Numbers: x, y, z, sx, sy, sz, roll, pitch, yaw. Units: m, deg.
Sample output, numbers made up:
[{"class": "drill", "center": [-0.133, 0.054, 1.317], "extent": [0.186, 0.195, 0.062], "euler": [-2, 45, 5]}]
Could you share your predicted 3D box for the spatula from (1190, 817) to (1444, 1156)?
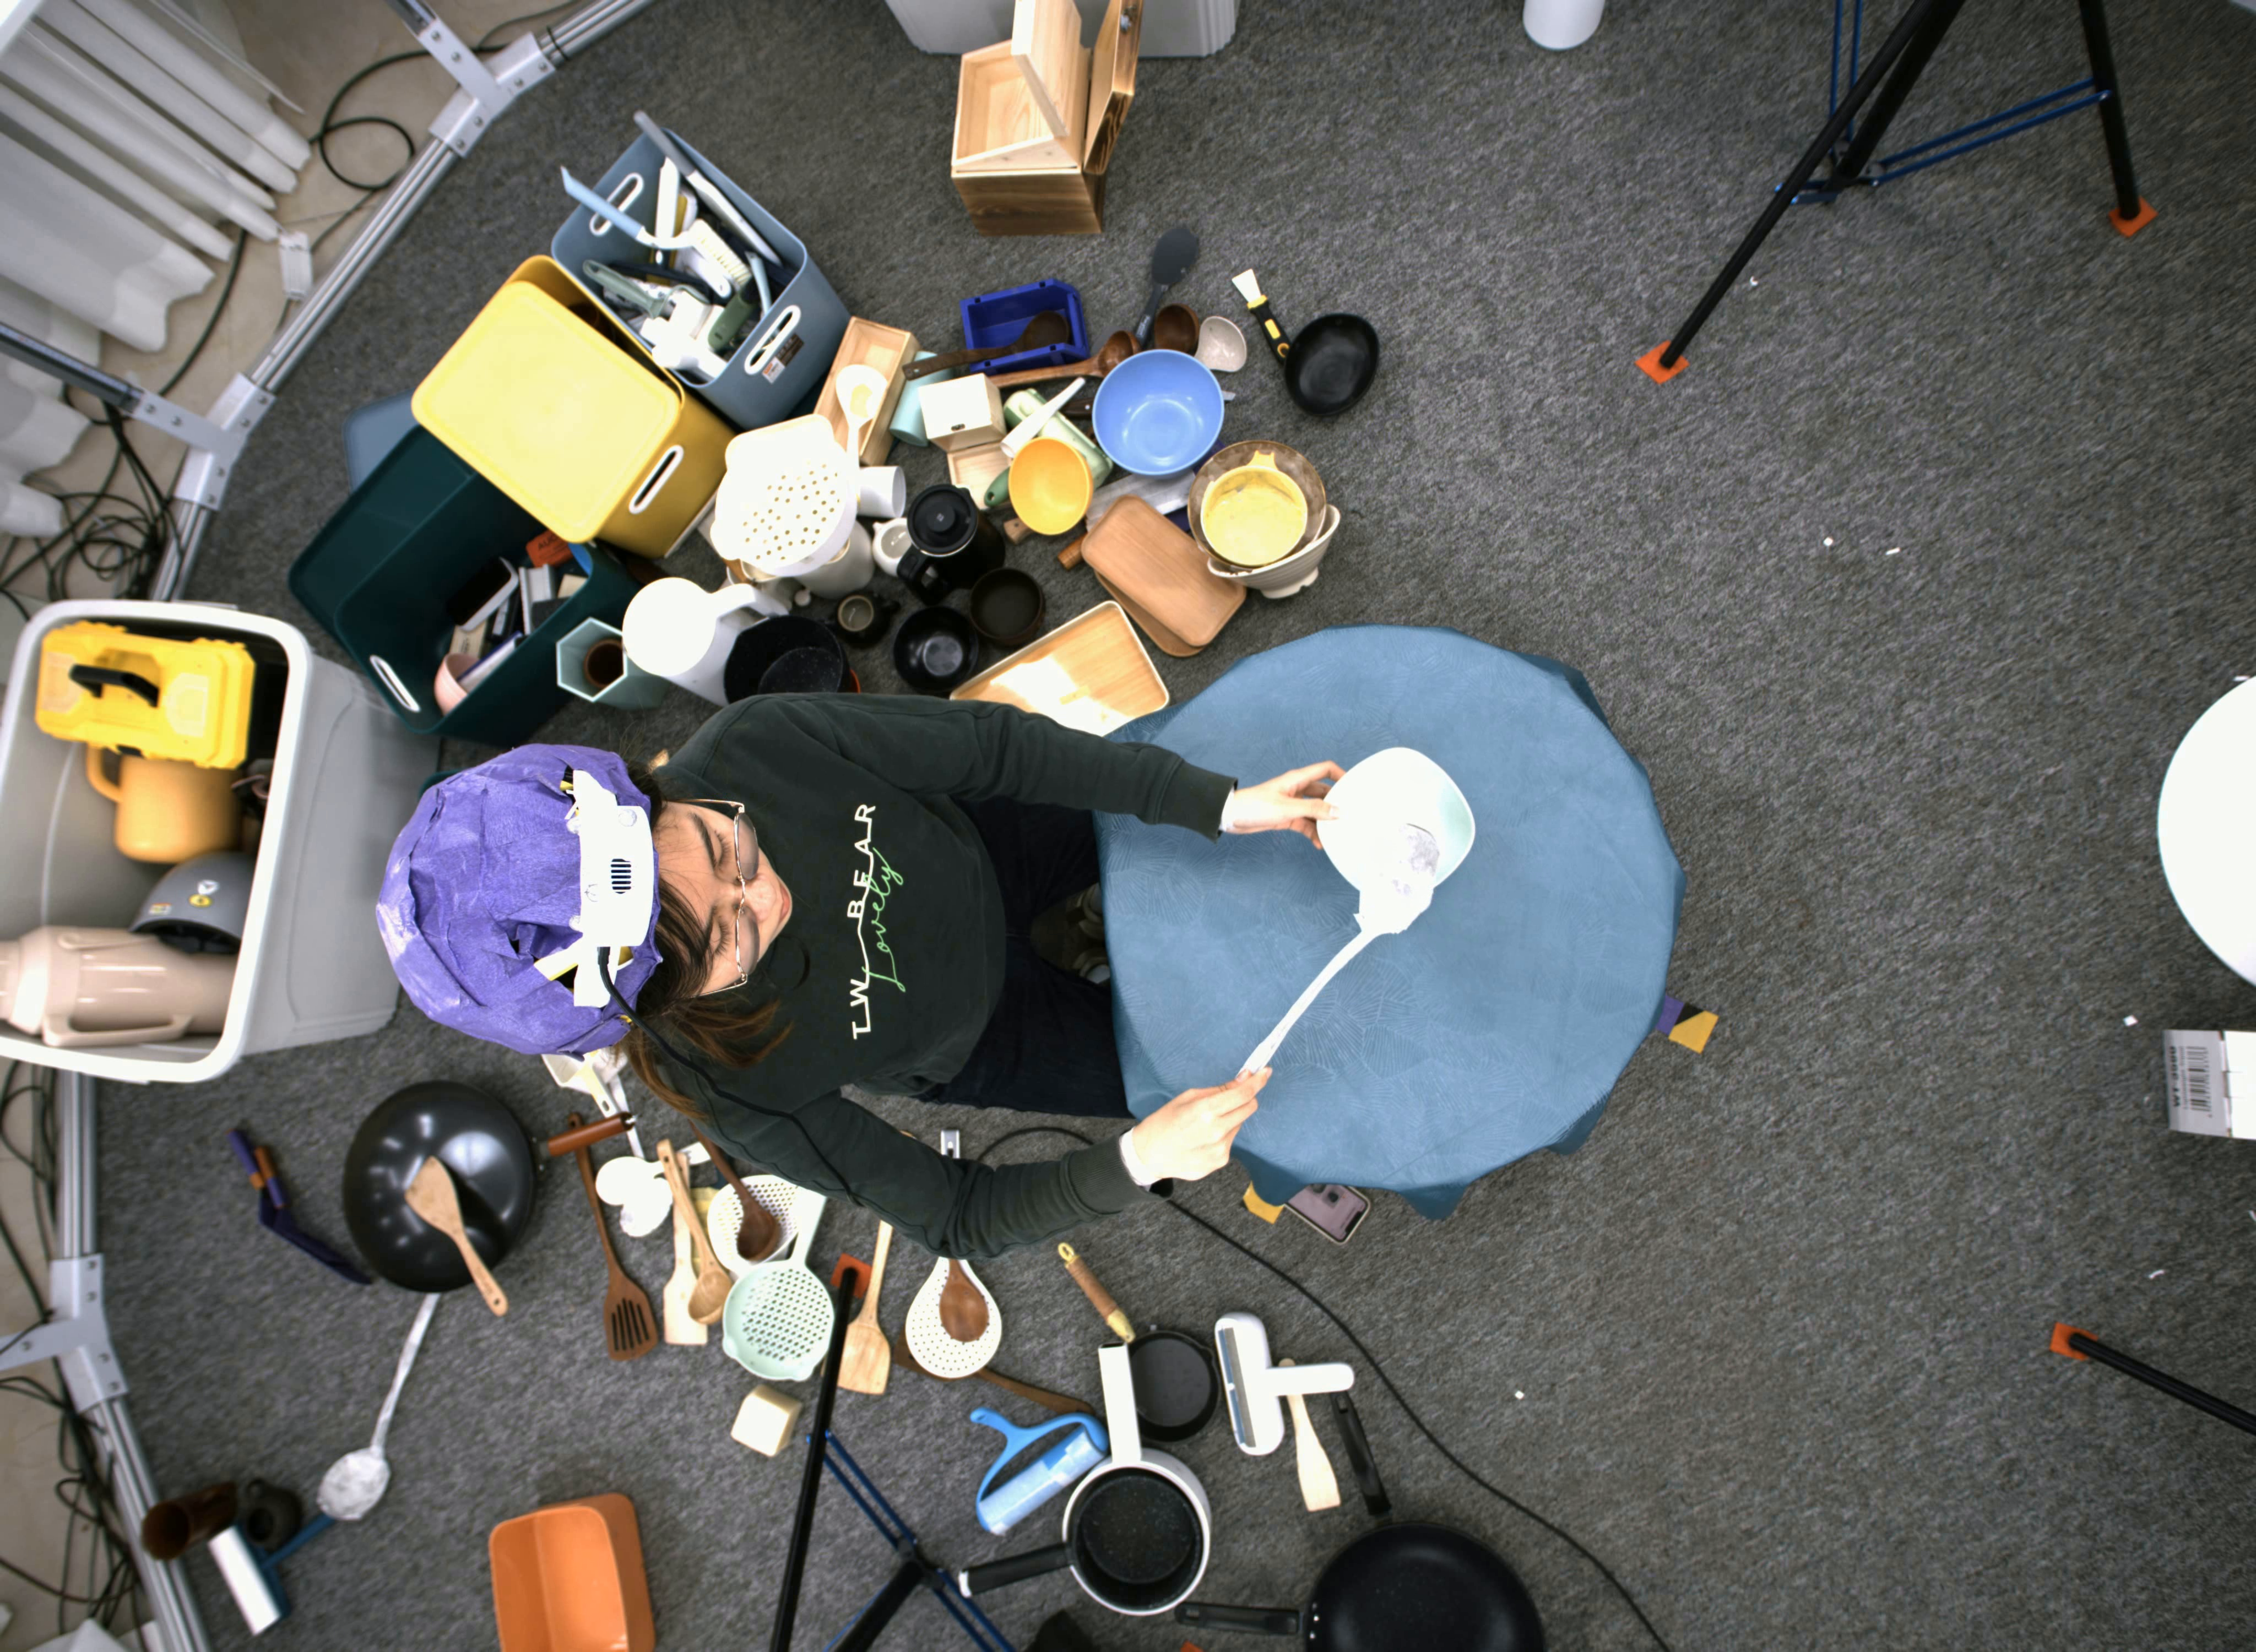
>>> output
[{"class": "spatula", "center": [0.162, 0.146, 1.243], "extent": [0.045, 0.098, 0.363], "euler": [42, 86, -30]}]

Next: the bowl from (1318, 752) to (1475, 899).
[{"class": "bowl", "center": [0.263, 0.001, 1.360], "extent": [0.152, 0.058, 0.152], "euler": [0, 95, 6]}]
